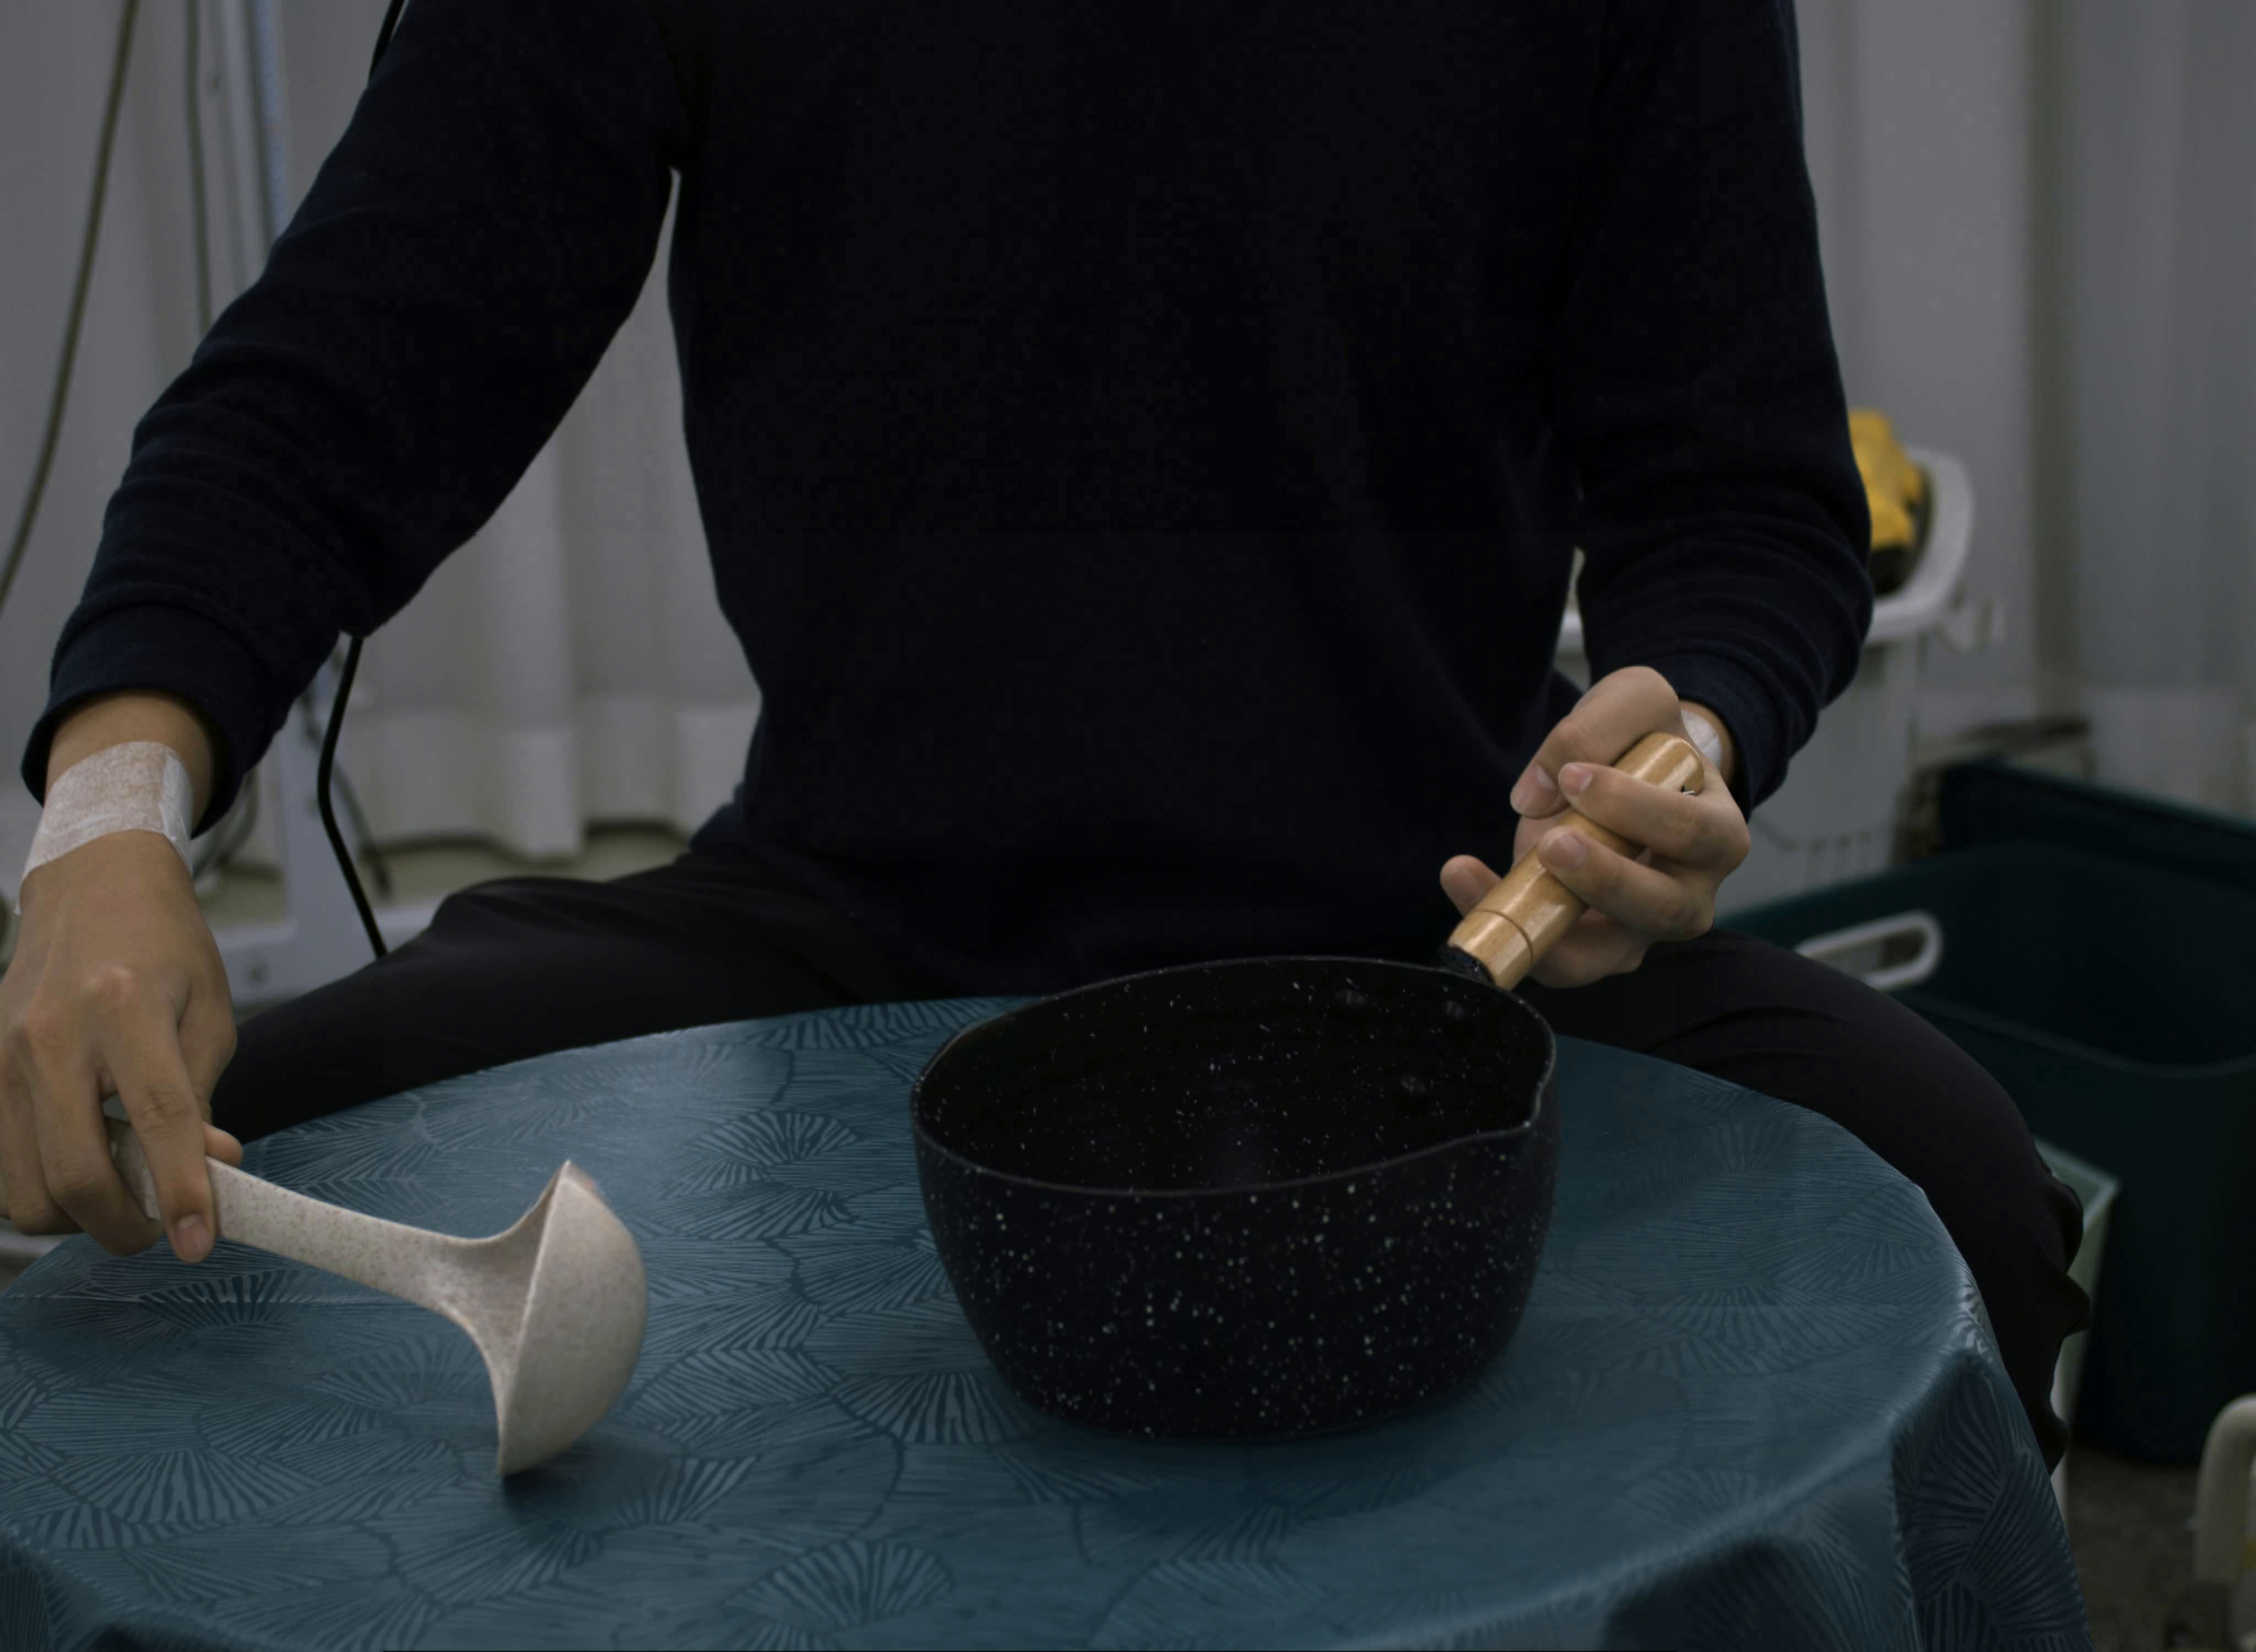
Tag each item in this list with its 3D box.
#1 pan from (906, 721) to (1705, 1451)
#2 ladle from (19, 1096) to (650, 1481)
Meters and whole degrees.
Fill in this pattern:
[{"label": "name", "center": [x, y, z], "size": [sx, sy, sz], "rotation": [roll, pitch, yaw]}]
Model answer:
[{"label": "pan", "center": [0.077, 0.072, 1.614], "size": [0.208, 0.107, 0.343], "rotation": [6, 23, 35]}, {"label": "ladle", "center": [-0.247, 0.115, 1.568], "size": [0.276, 0.089, 0.069], "rotation": [14, 7, 36]}]
